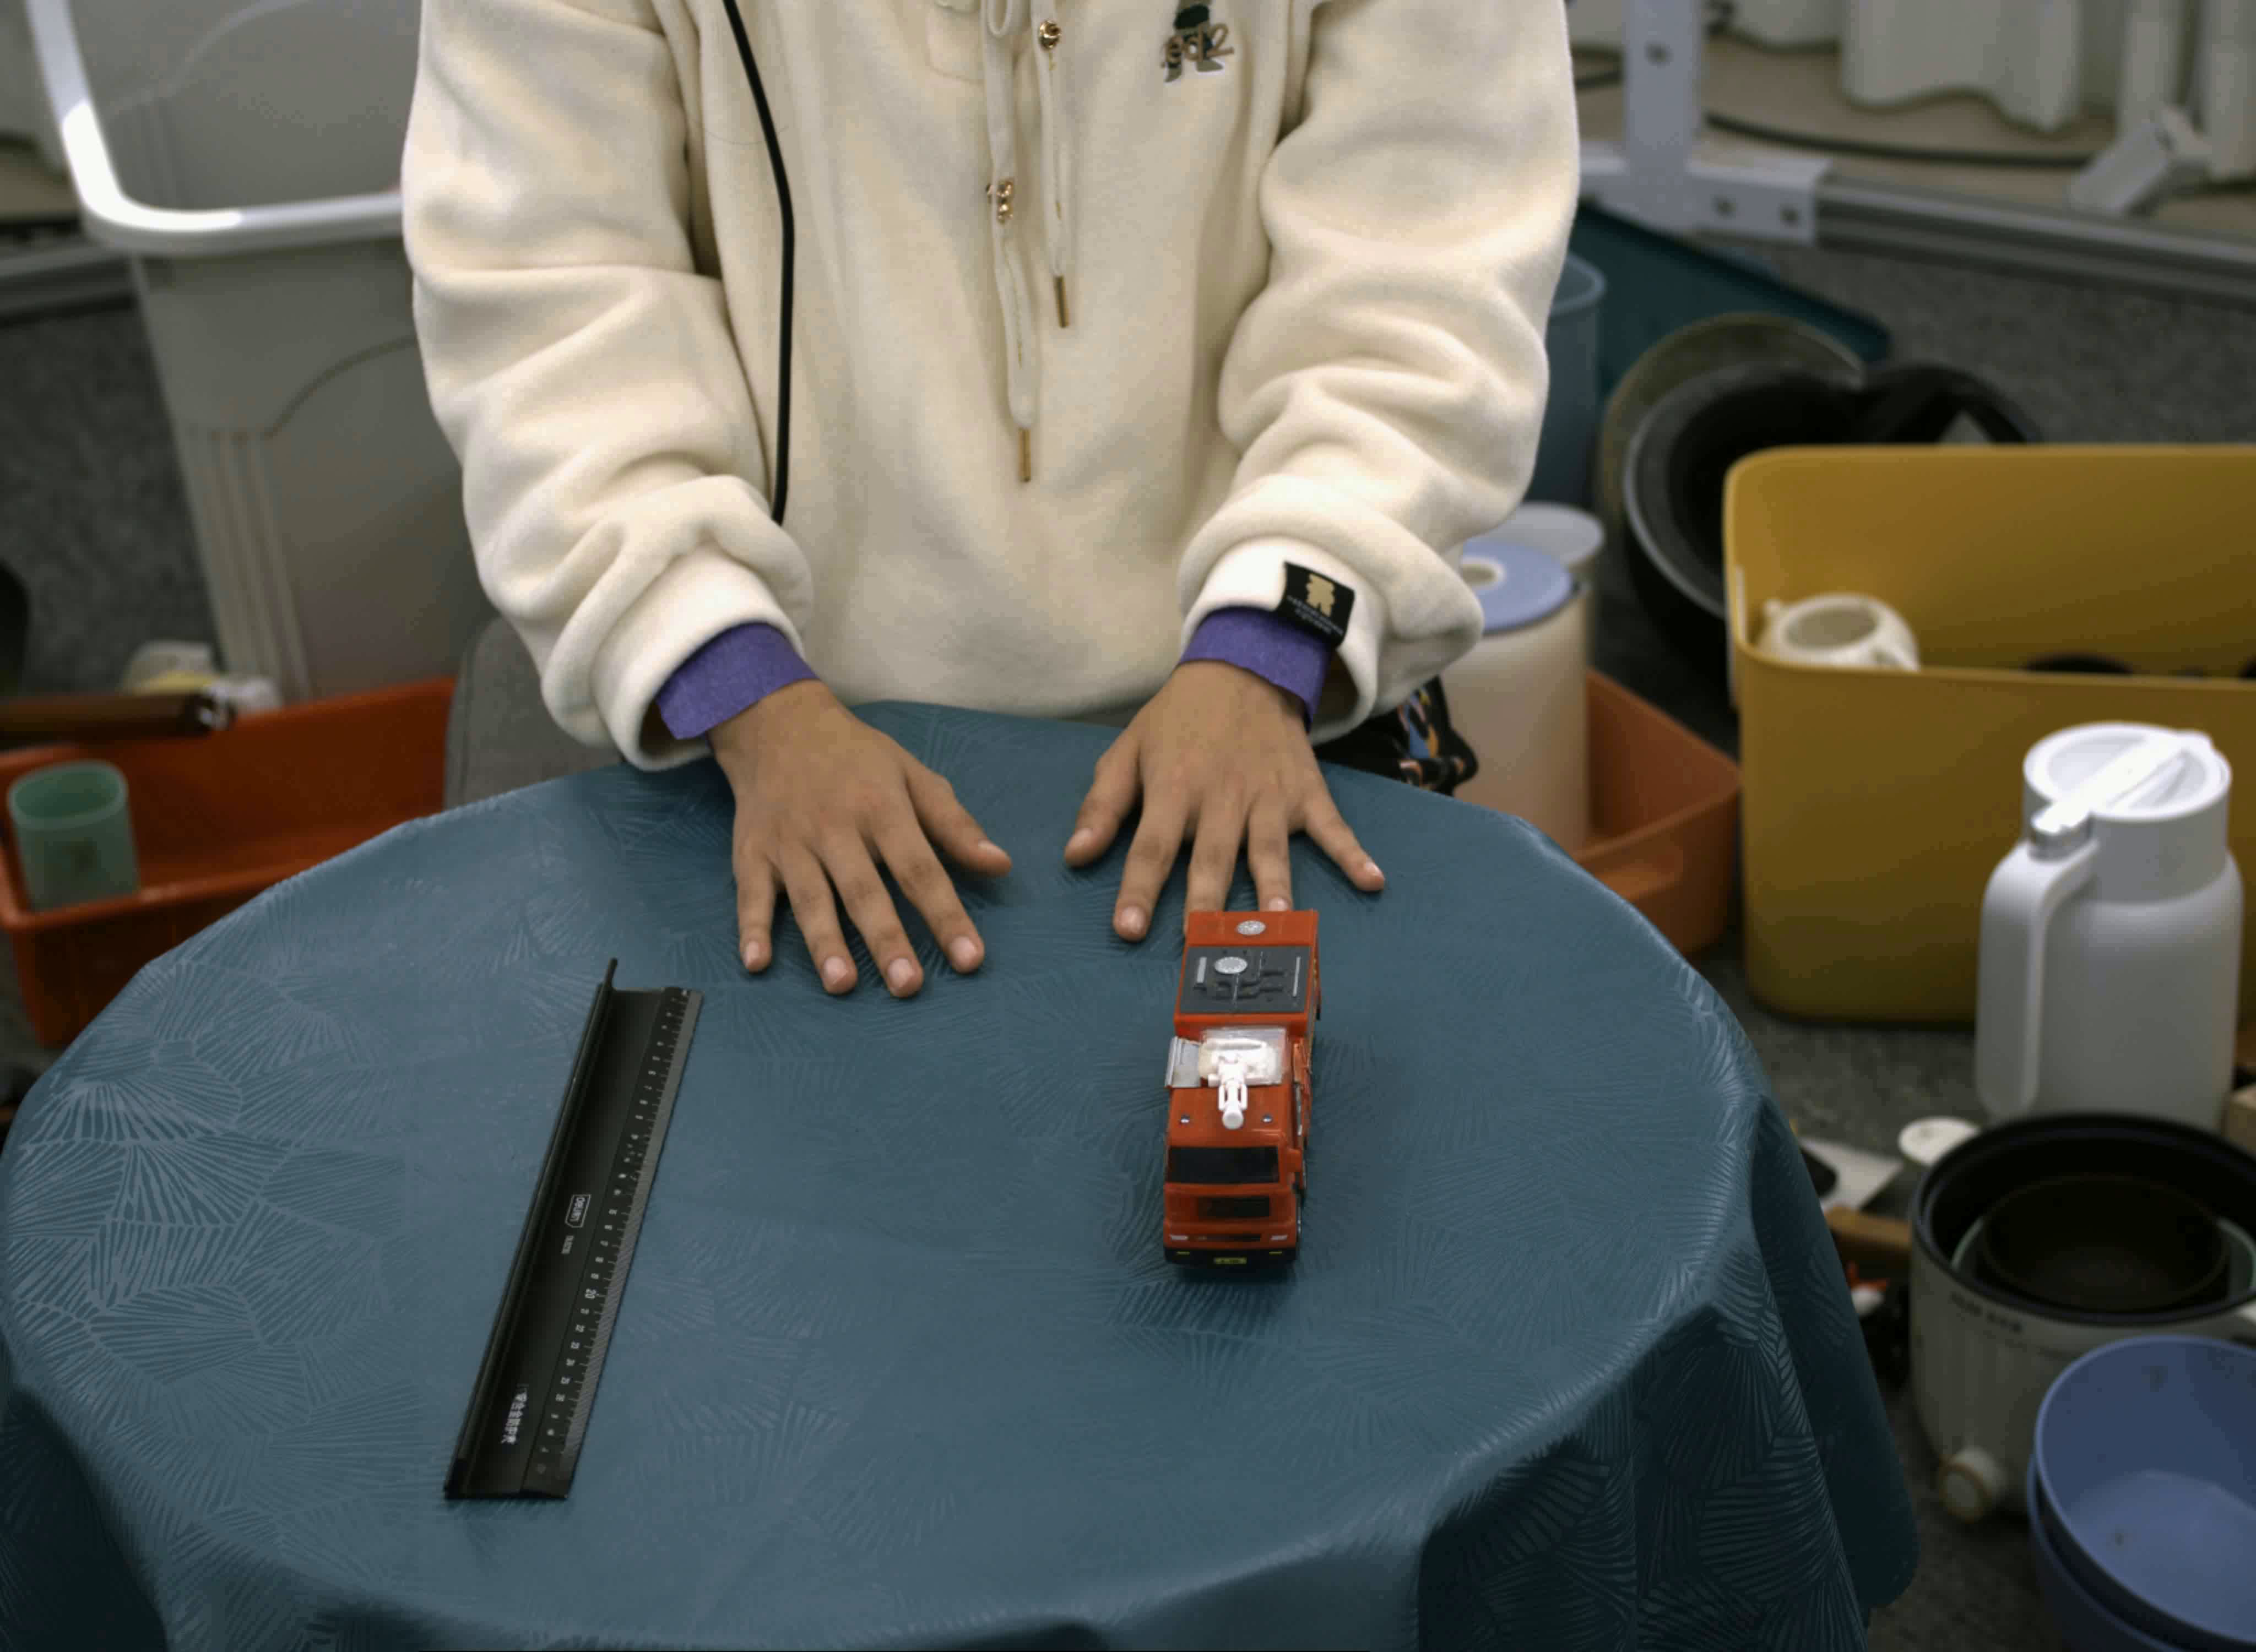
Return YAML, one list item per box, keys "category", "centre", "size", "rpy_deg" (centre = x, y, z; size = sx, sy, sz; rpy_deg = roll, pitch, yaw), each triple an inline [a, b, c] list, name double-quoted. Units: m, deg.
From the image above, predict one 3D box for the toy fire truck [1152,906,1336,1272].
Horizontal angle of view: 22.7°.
- category: "toy fire truck"
  centre: [0.039, 0.086, 1.864]
  size: [0.053, 0.069, 0.170]
  rpy_deg: [-1, 26, 5]

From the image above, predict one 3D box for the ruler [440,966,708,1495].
- category: "ruler"
  centre: [-0.180, 0.127, 1.851]
  size: [0.039, 0.017, 0.317]
  rpy_deg: [3, 27, 4]
